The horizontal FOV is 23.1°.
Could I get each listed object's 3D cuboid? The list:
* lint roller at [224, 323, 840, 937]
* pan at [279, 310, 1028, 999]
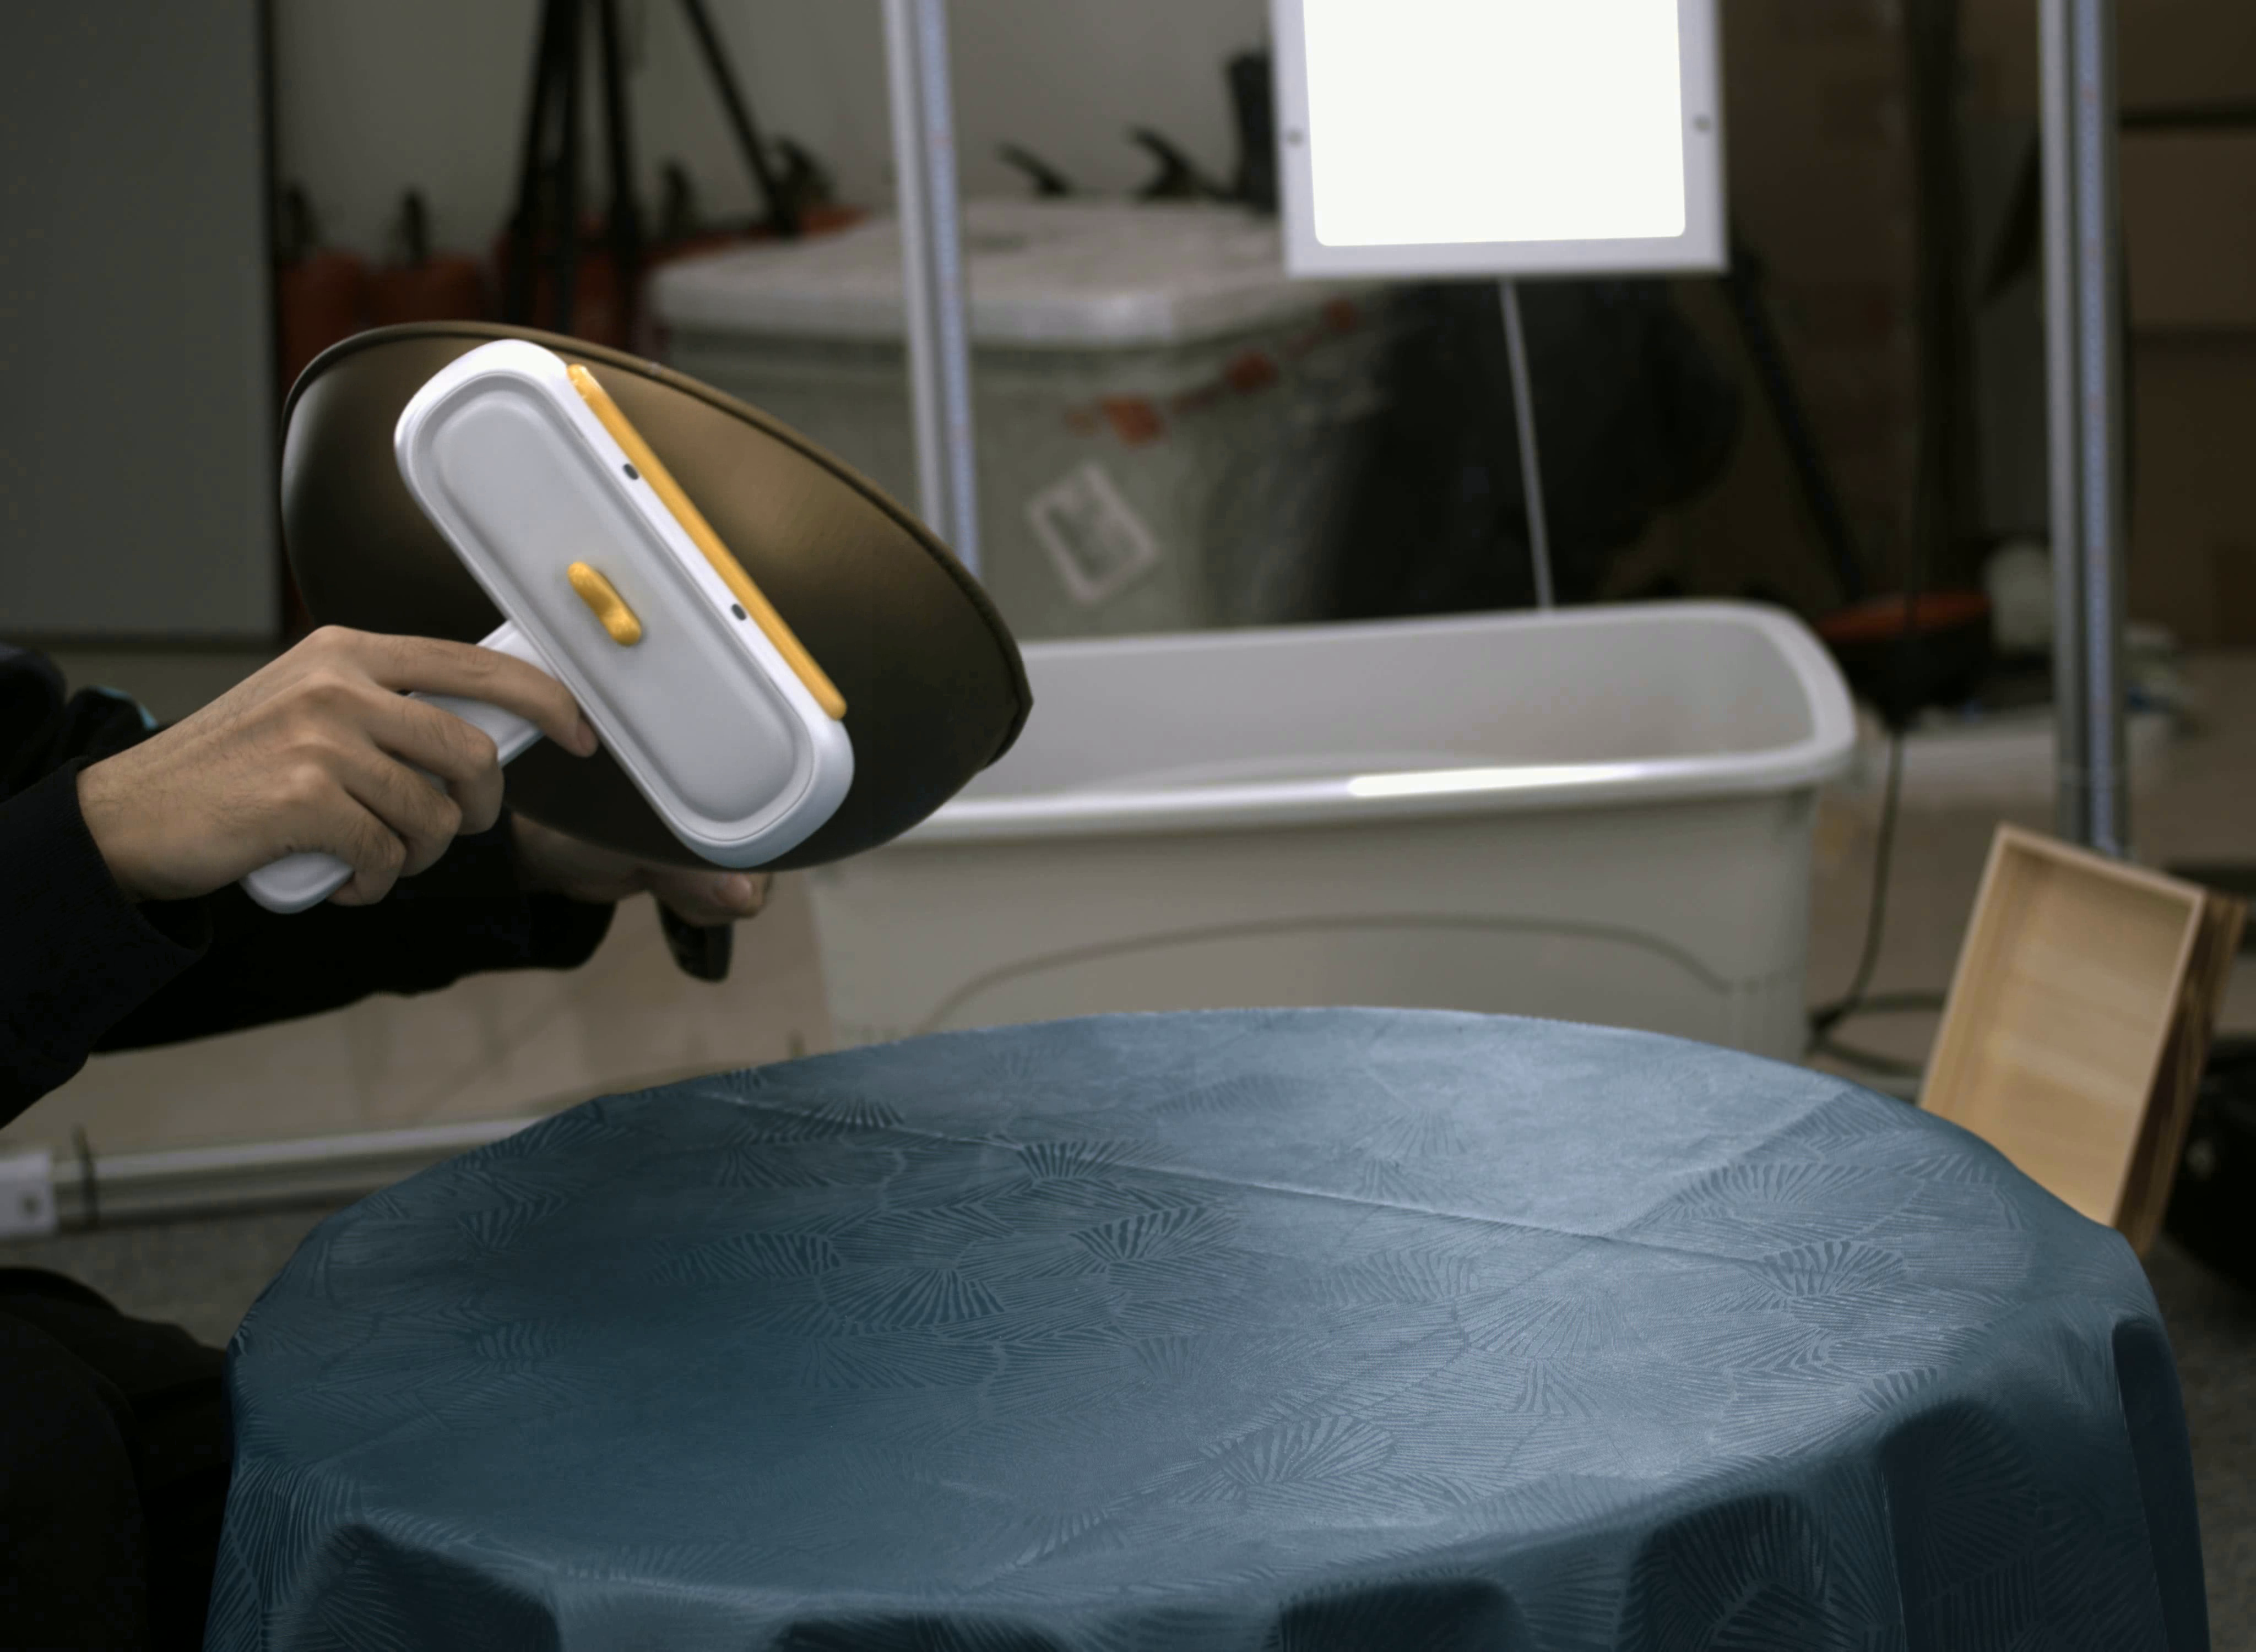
[{"bbox_3d":[-0.214,-0.039,1.789,0.192,0.192,0.074,-42,5,-2],"label":"lint roller"},{"bbox_3d":[-0.182,-0.020,2.015,0.290,0.086,0.465,19,-26,10],"label":"pan"}]
